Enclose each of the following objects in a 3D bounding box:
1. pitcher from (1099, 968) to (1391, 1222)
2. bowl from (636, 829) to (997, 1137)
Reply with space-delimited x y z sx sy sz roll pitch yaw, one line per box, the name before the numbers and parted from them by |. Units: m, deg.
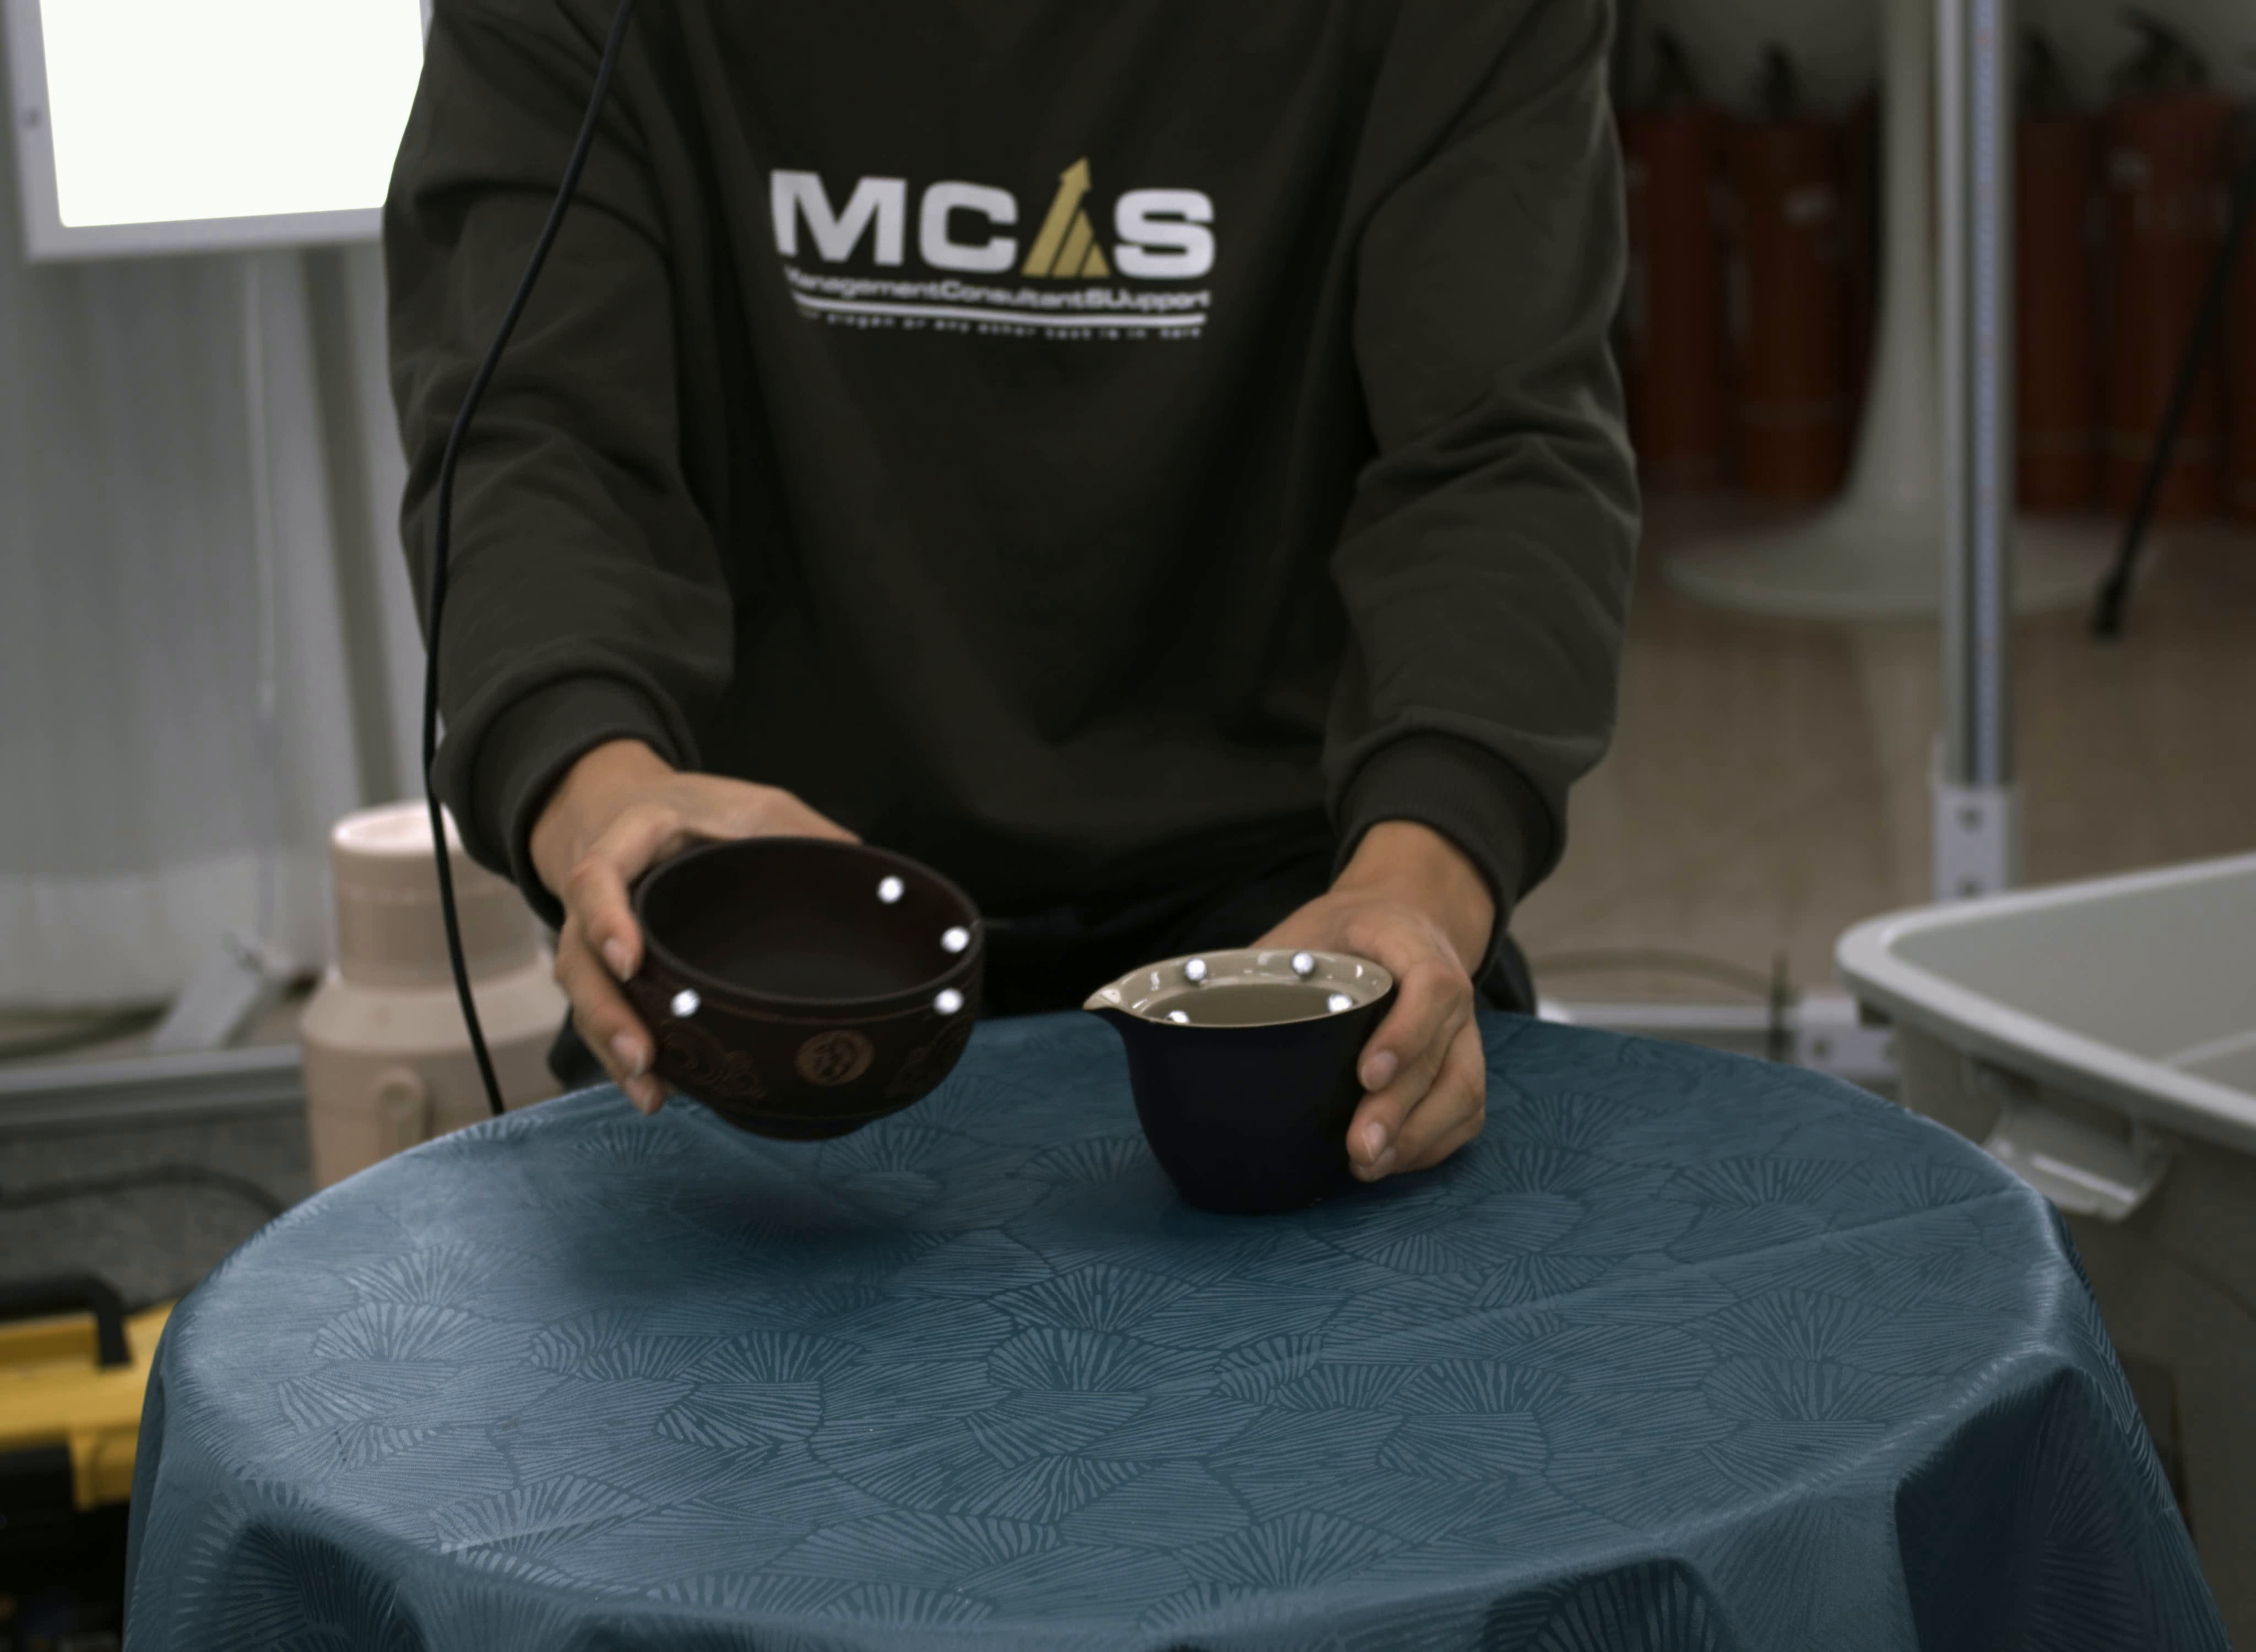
pitcher | 0.041 0.087 1.755 0.095 0.072 0.083 -4 15 6
bowl | -0.102 0.057 1.749 0.116 0.070 0.118 4 24 -3
